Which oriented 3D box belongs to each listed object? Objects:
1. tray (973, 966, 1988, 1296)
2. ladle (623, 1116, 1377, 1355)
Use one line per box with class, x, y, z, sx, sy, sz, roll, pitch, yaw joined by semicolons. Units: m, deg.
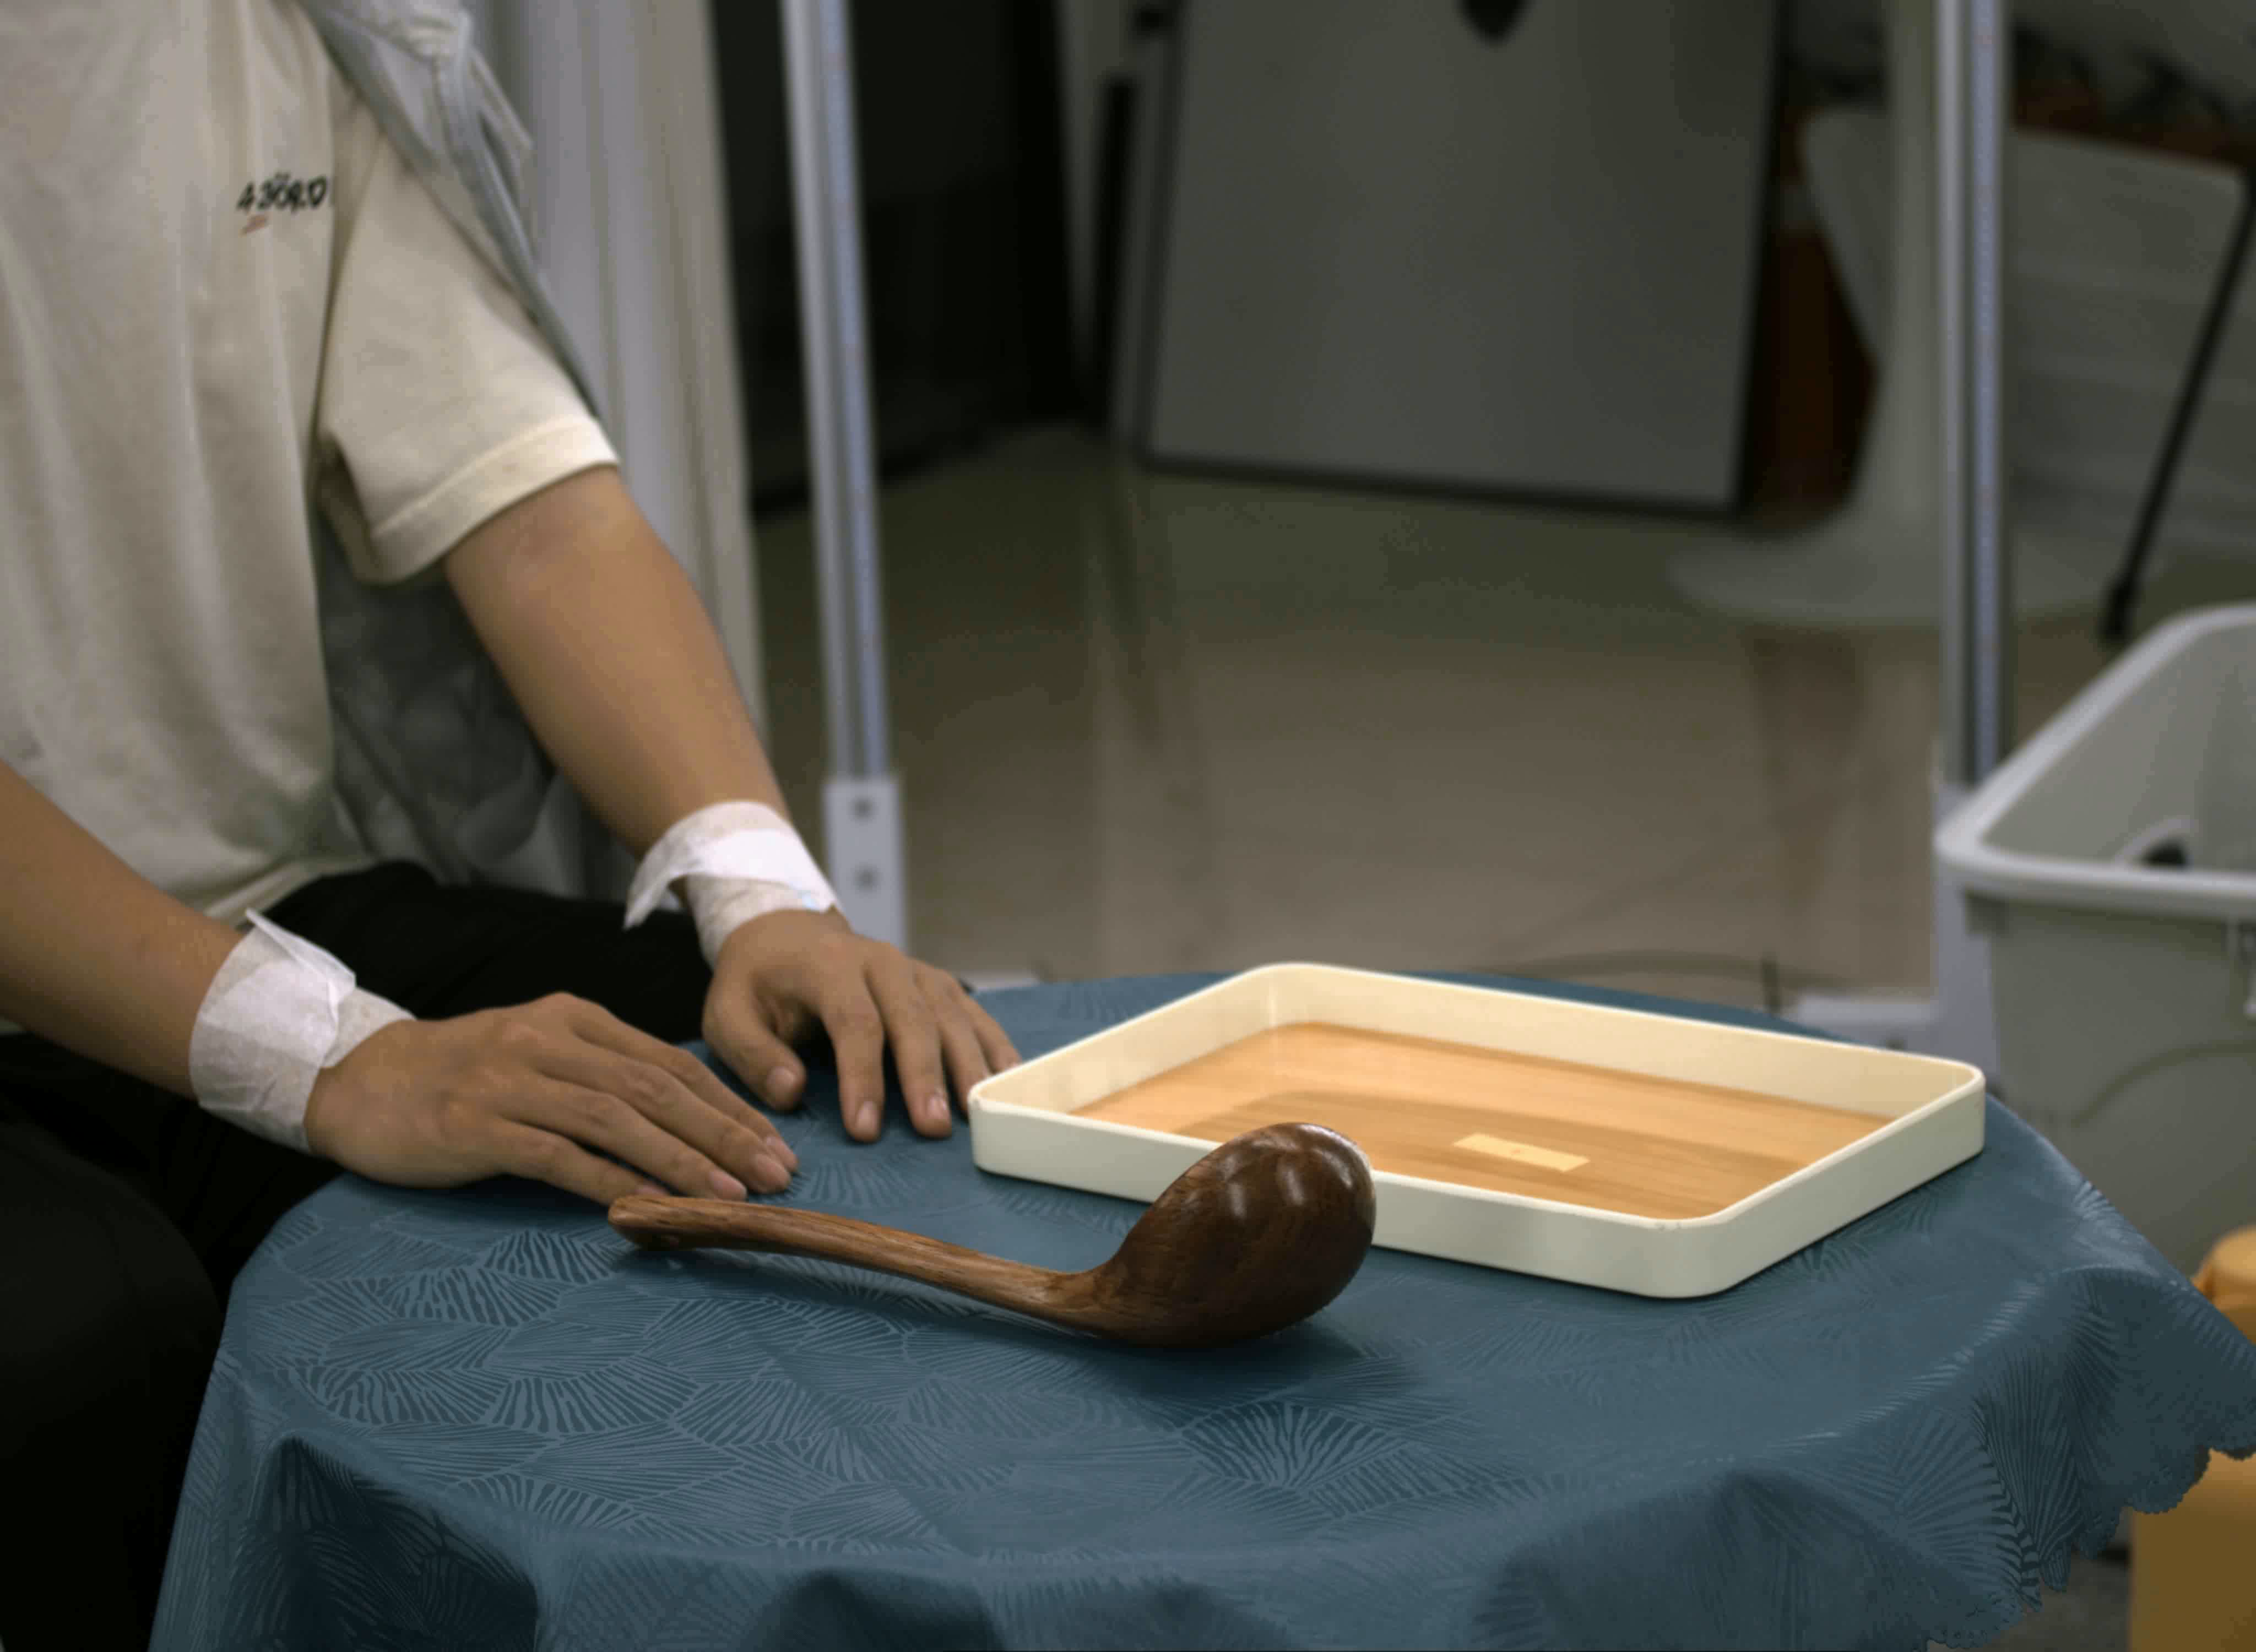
tray;0.115;0.097;1.781;0.302;0.028;0.188;7;18;39
ladle;-0.045;0.114;1.671;0.276;0.077;0.081;6;-22;40
